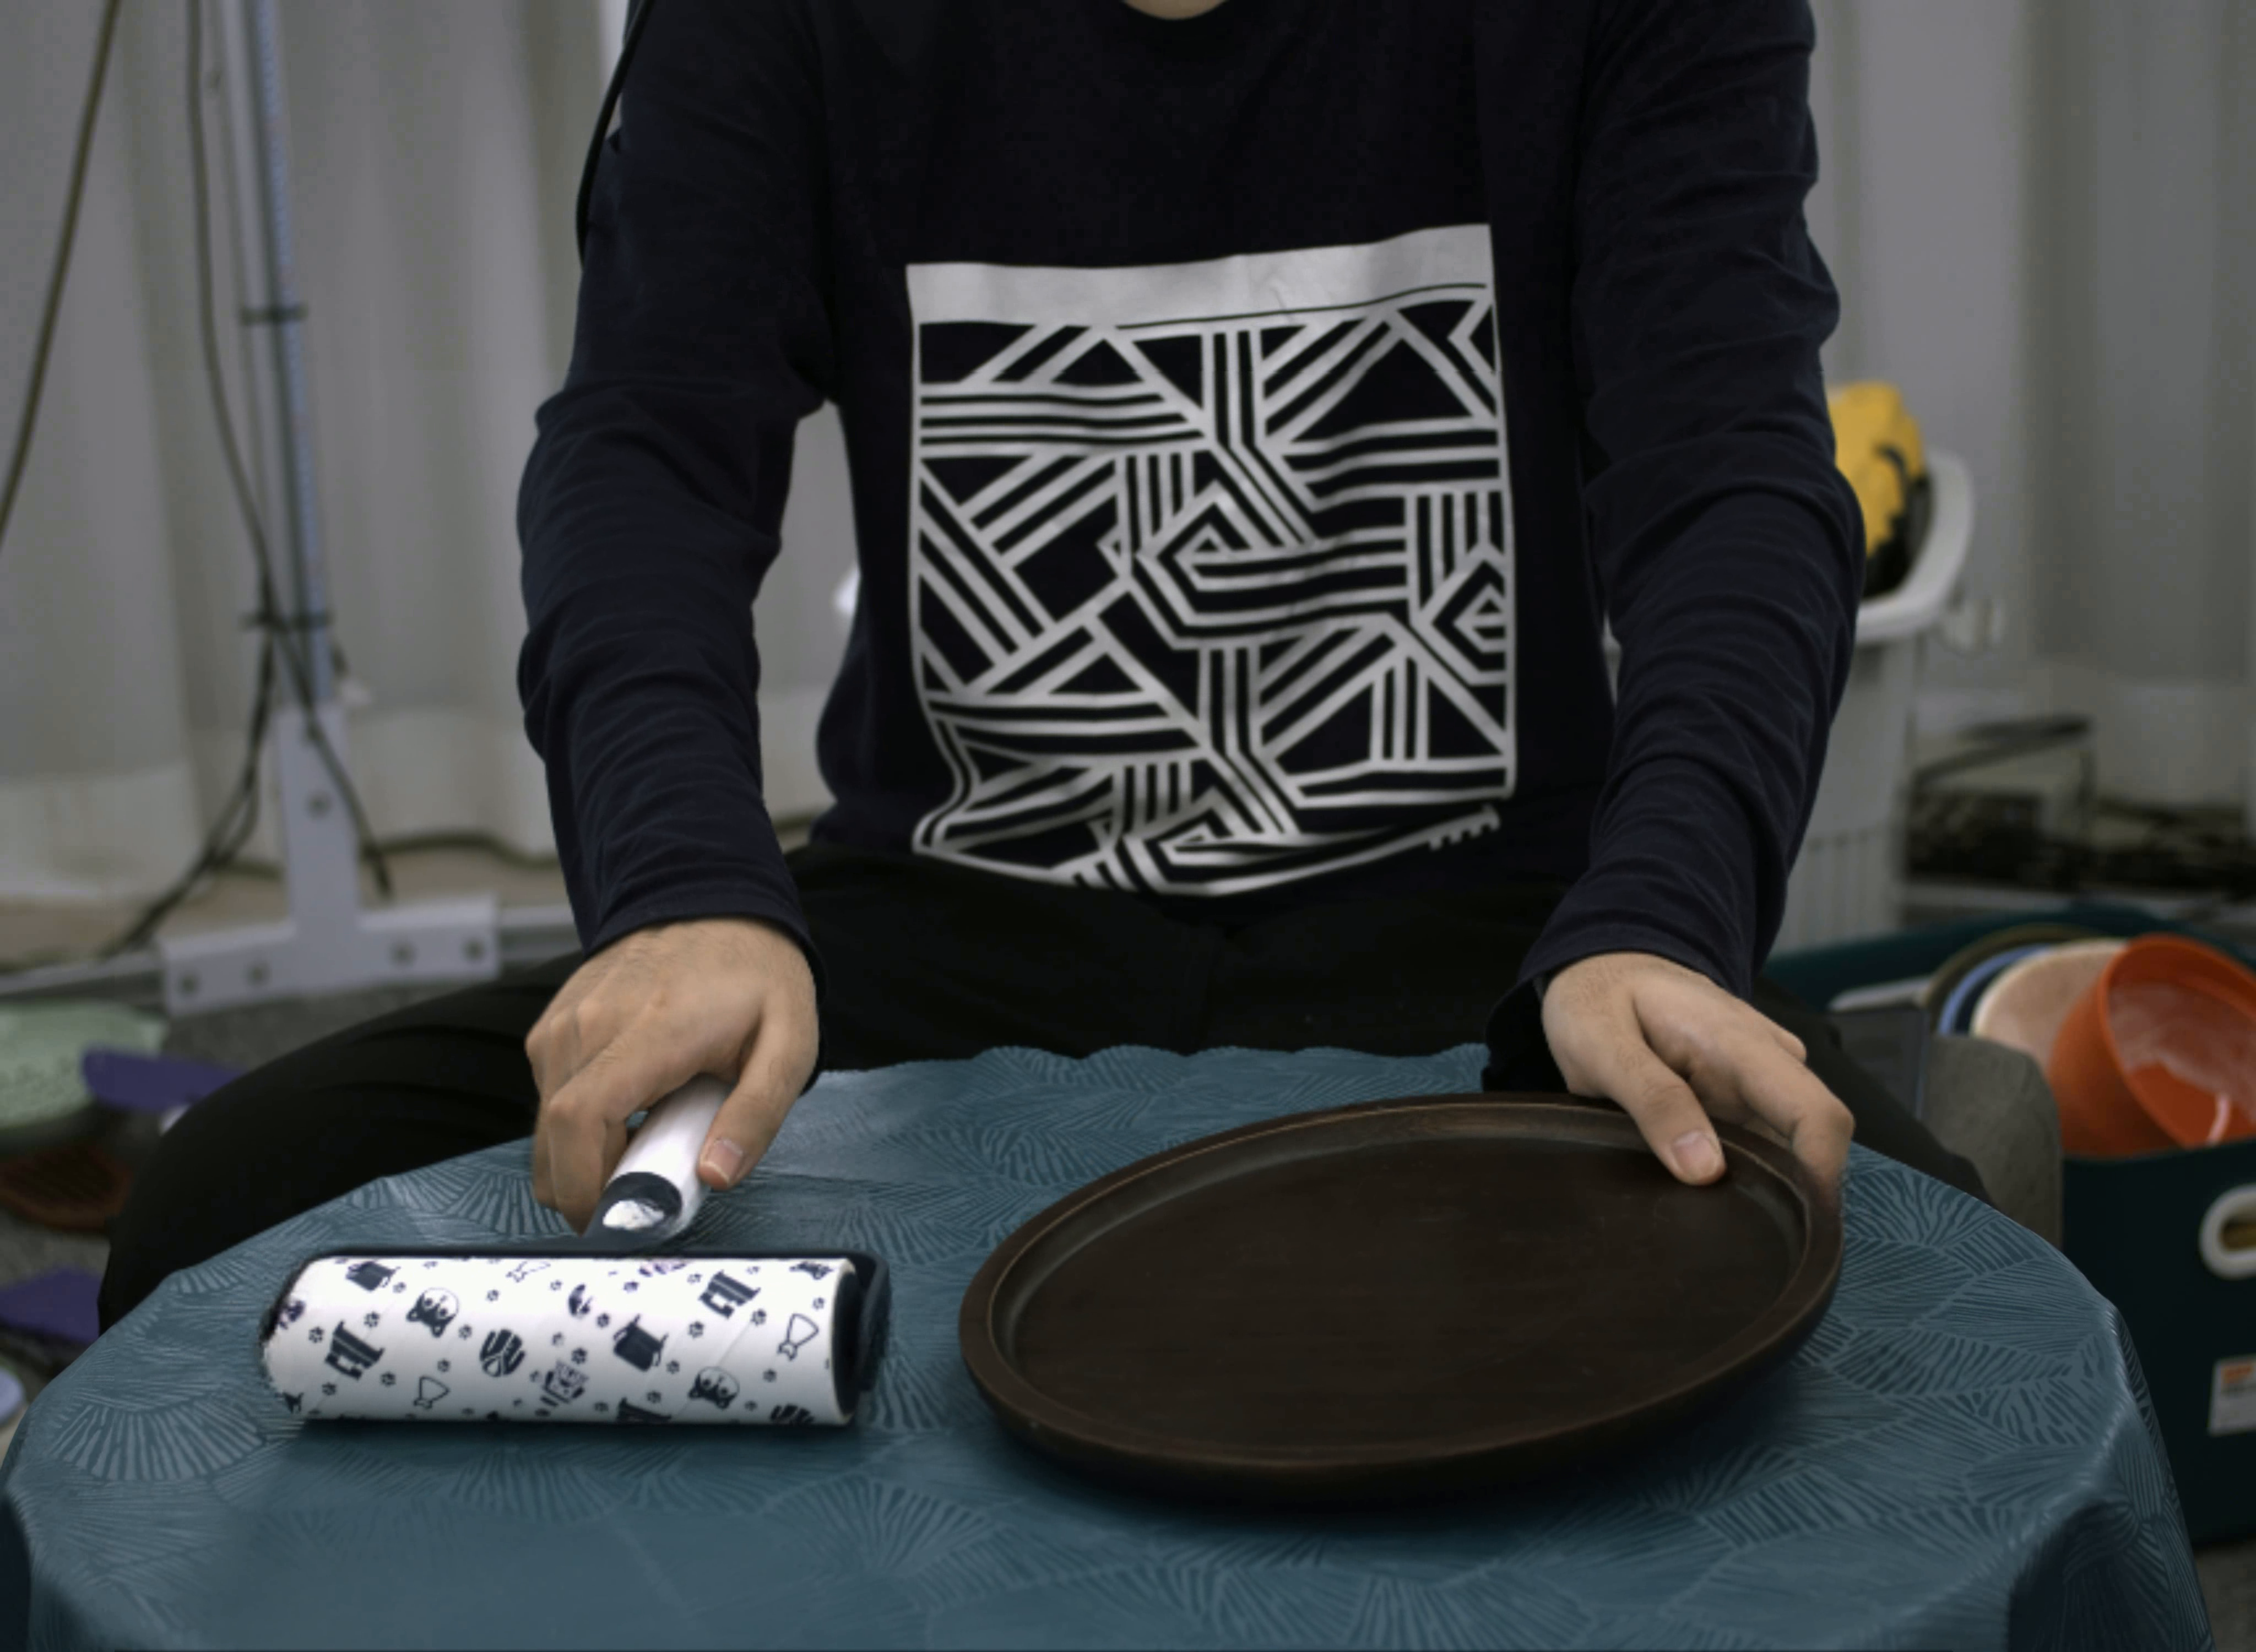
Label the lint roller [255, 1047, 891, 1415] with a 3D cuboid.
[{"bbox_3d":[-0.145,0.111,1.636,0.176,0.050,0.249,-2,19,8],"label":"lint roller"}]

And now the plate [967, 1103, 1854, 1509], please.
[{"bbox_3d":[0.080,0.133,1.544,0.254,0.029,0.257,-7,17,2],"label":"plate"}]
